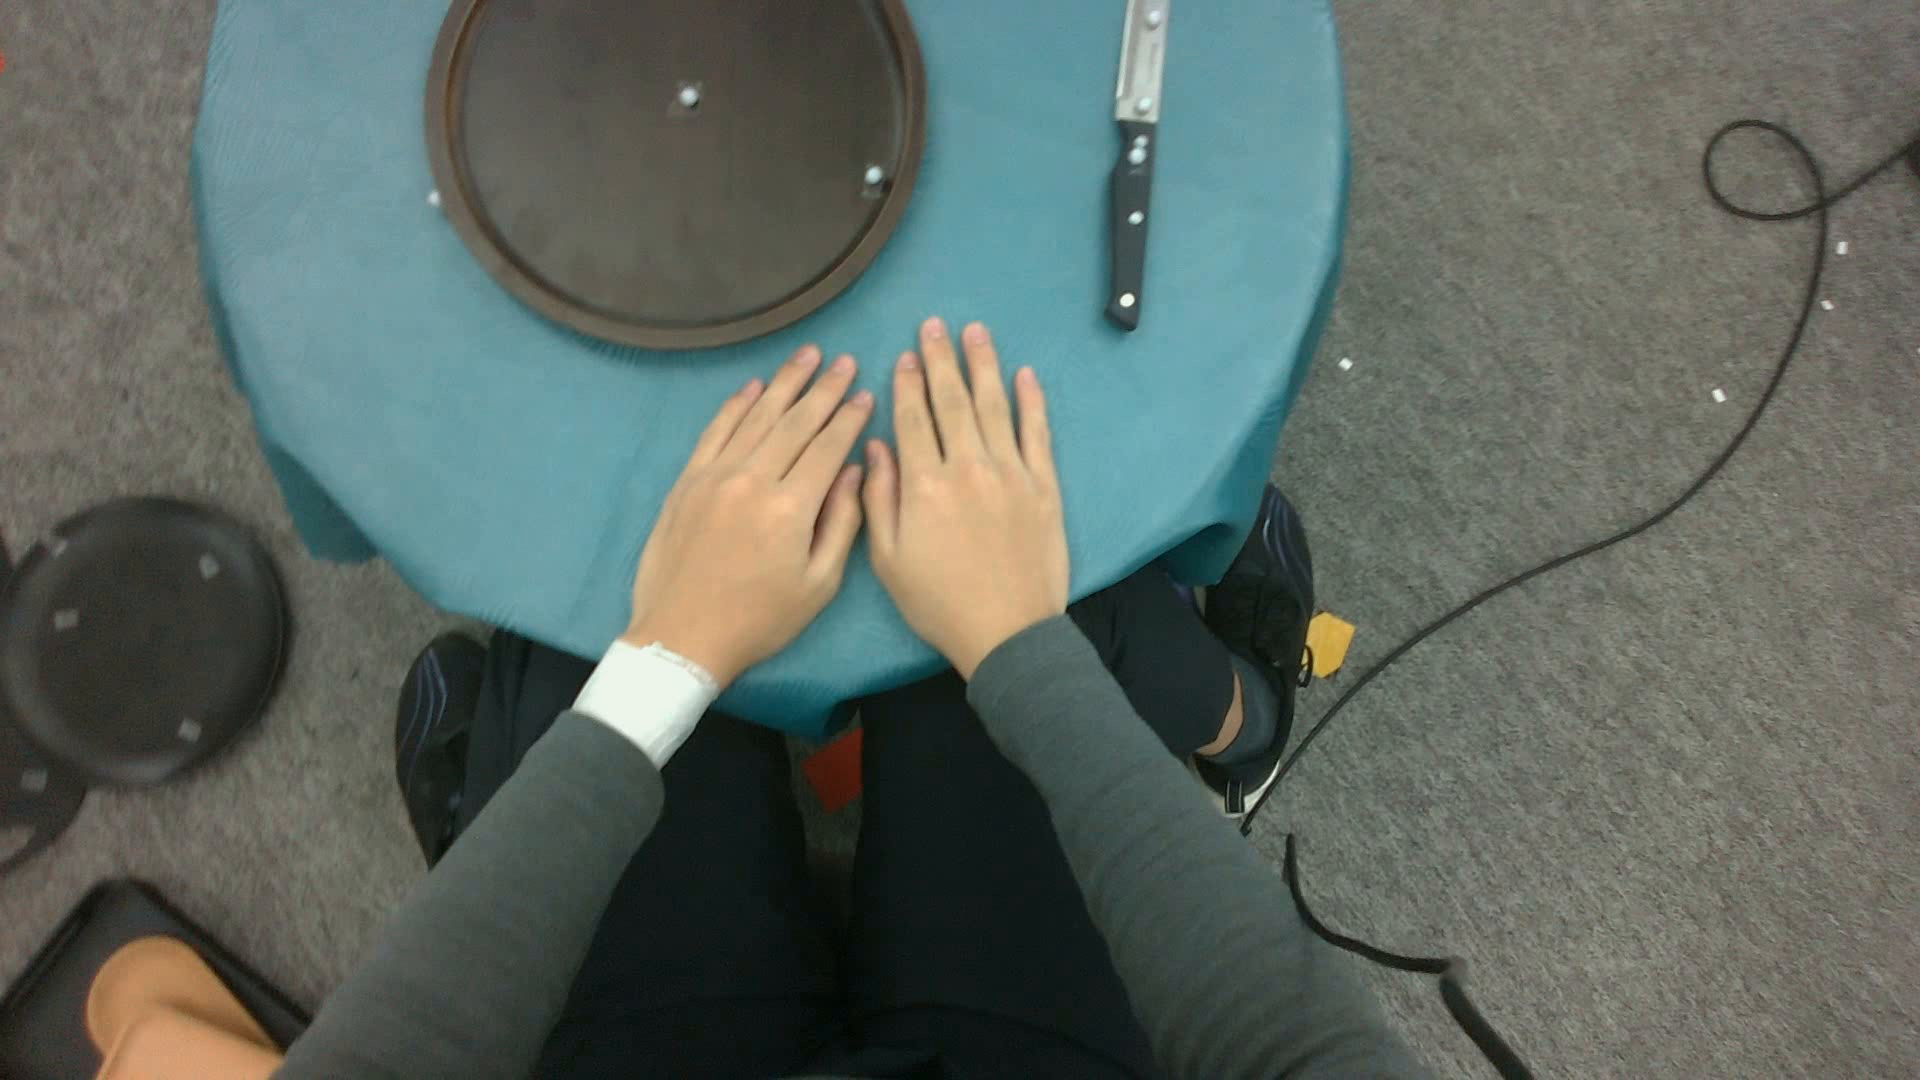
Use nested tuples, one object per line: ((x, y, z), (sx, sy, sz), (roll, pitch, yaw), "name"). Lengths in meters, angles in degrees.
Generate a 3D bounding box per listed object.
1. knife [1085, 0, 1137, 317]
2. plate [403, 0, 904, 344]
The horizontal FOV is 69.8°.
((0.083, -0.232, 0.737), (0.024, 0.016, 0.238), (4, 78, 1), "knife")
((-0.156, -0.222, 0.711), (0.255, 0.029, 0.255), (1, 80, -4), "plate")
